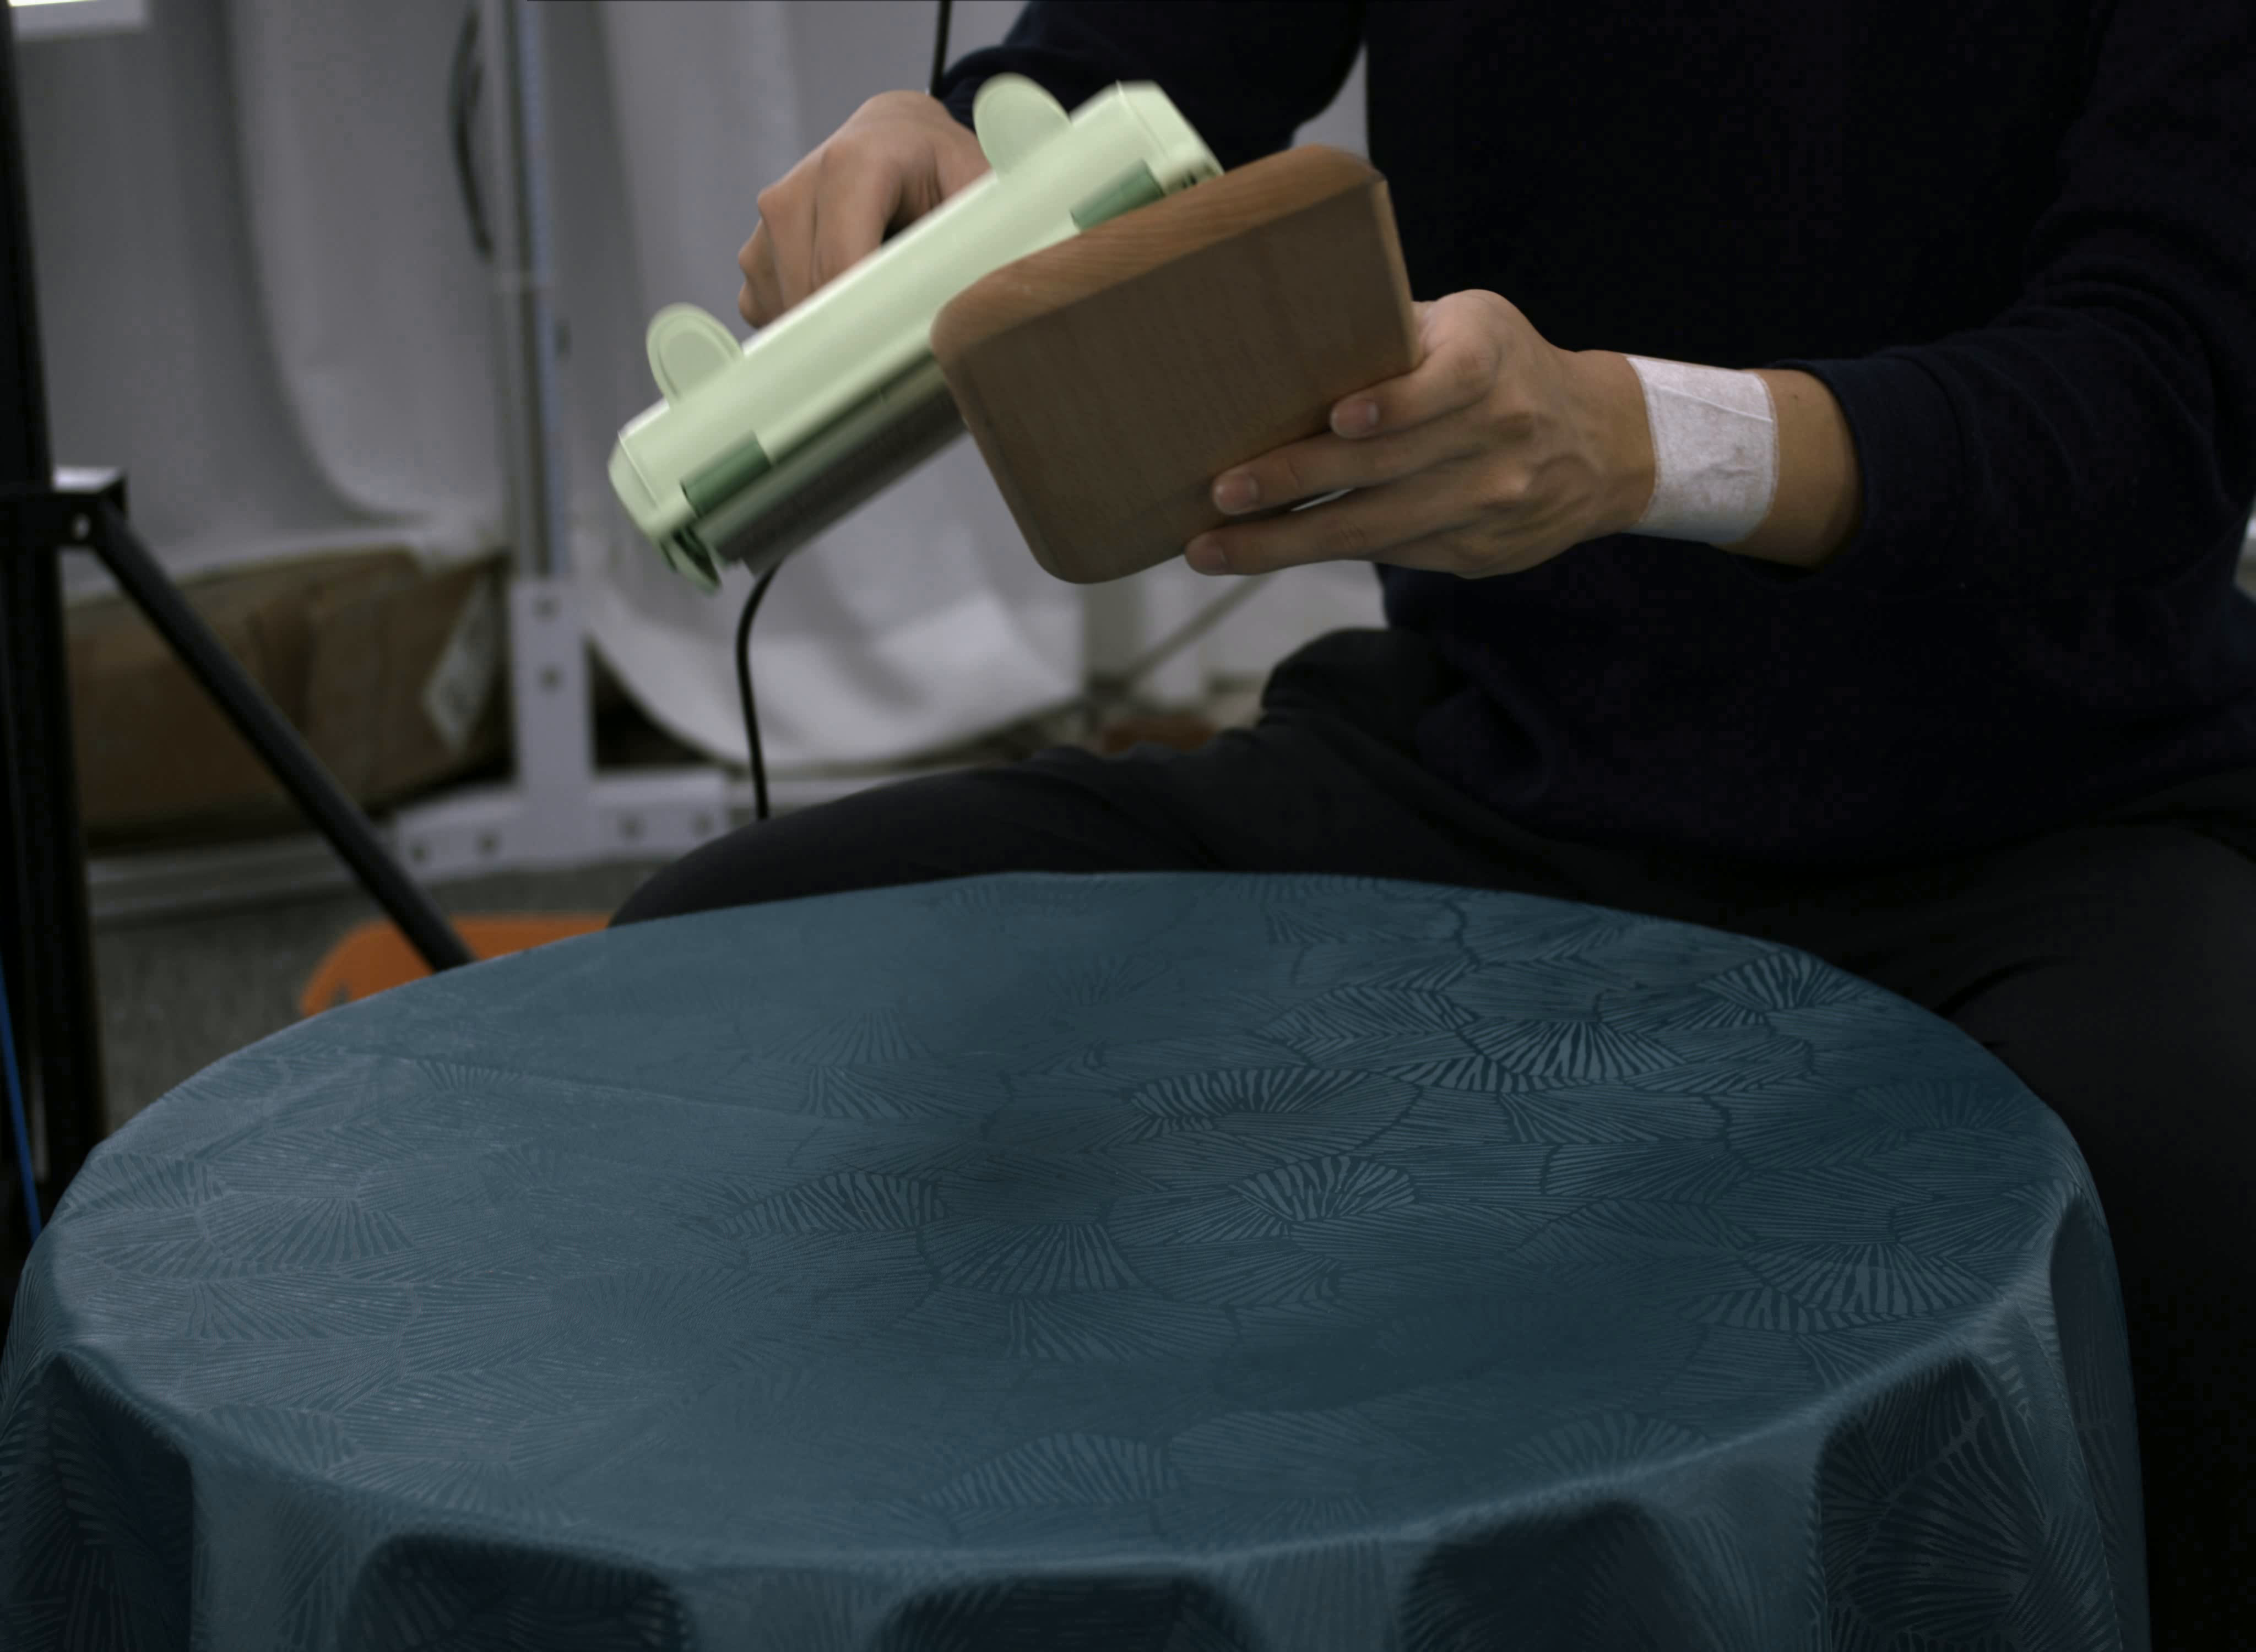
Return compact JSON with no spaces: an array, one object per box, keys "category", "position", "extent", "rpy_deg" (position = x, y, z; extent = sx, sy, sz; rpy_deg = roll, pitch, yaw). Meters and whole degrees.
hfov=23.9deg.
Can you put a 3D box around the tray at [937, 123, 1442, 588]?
[{"category":"tray","position":[0.022,-0.123,1.462],"extent":[0.130,0.023,0.248],"rpy_deg":[-20,-16,3]}]

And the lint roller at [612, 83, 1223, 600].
[{"category":"lint roller","position":[-0.076,-0.167,1.597],"extent":[0.198,0.081,0.186],"rpy_deg":[-34,28,2]}]
